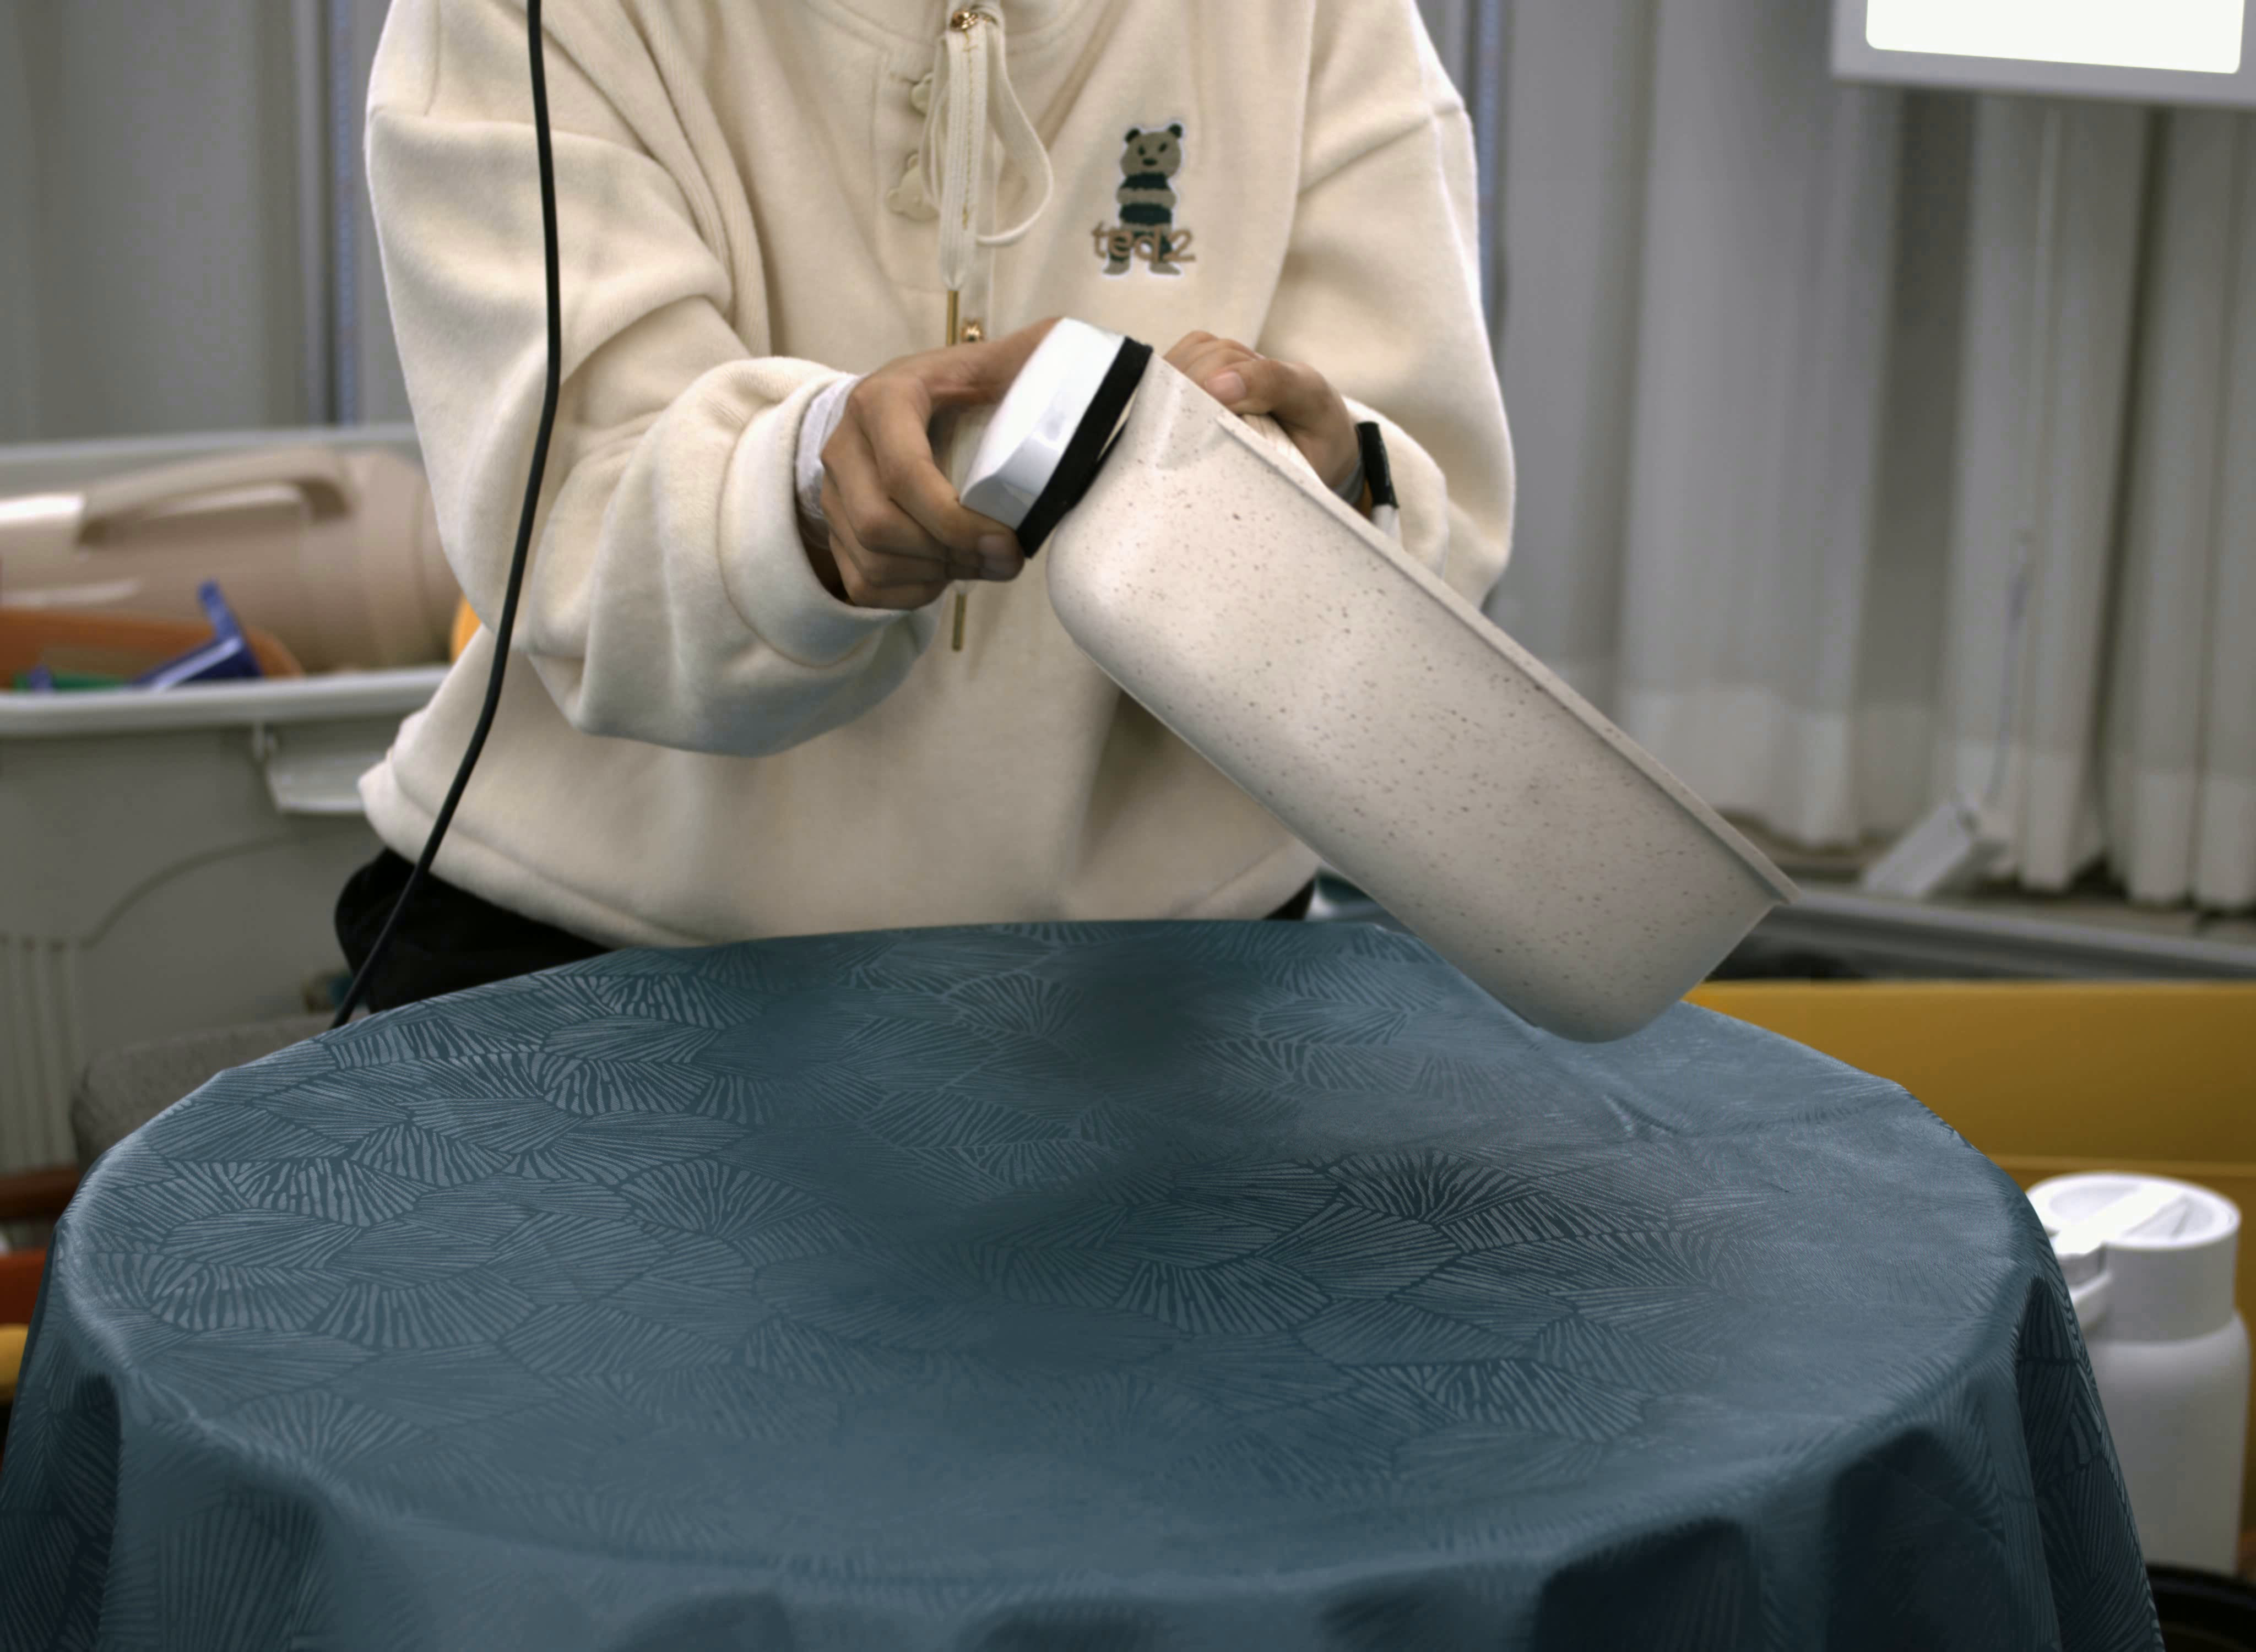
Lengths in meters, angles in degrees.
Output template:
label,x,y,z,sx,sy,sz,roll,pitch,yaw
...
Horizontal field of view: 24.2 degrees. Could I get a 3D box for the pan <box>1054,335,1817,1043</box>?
label,x,y,z,sx,sy,sz,roll,pitch,yaw
pan,0.060,-0.062,1.656,0.266,0.102,0.430,37,4,-25

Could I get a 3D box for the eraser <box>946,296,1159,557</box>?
label,x,y,z,sx,sy,sz,roll,pitch,yaw
eraser,-0.025,-0.121,1.593,0.034,0.063,0.131,32,-9,-4
